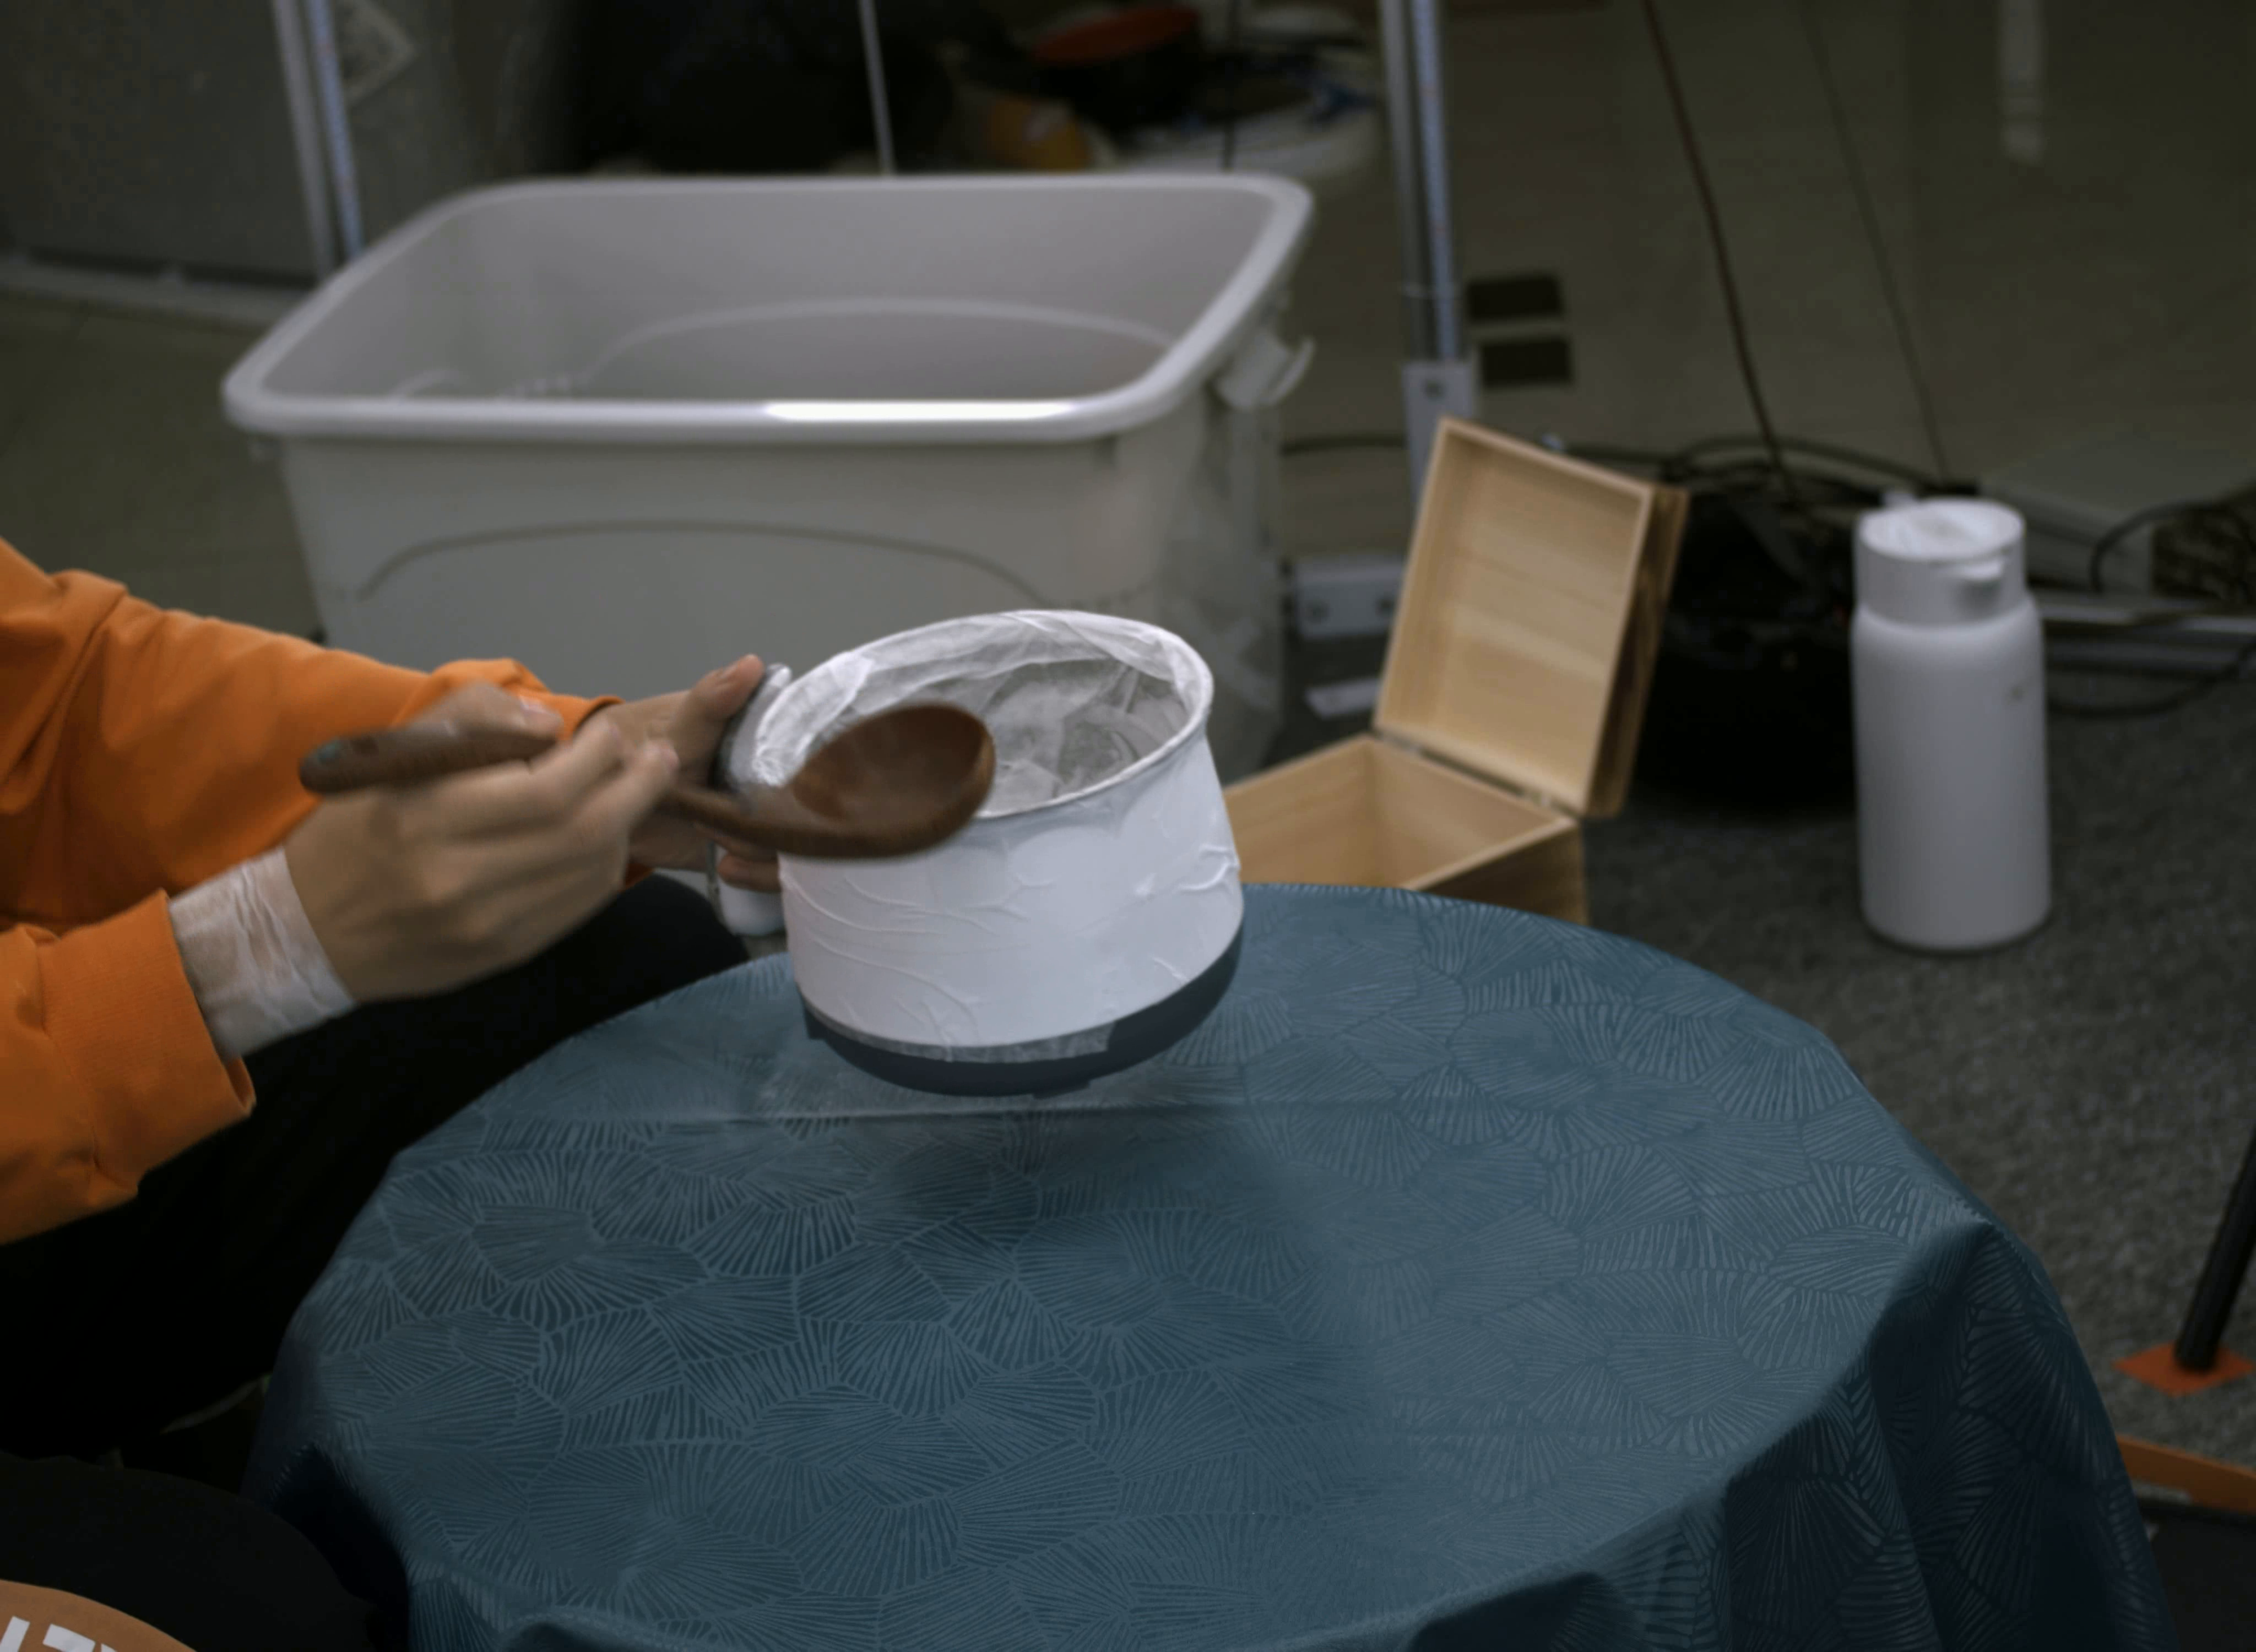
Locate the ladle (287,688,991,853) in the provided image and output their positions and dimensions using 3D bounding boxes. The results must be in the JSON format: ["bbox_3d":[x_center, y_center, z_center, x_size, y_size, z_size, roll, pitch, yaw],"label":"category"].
[{"bbox_3d":[-0.167,-0.032,1.973,0.261,0.066,0.075,9,14,-32],"label":"ladle"}]

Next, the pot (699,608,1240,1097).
[{"bbox_3d":[-0.072,0.008,2.191,0.232,0.139,0.176,10,32,31],"label":"pot"}]
